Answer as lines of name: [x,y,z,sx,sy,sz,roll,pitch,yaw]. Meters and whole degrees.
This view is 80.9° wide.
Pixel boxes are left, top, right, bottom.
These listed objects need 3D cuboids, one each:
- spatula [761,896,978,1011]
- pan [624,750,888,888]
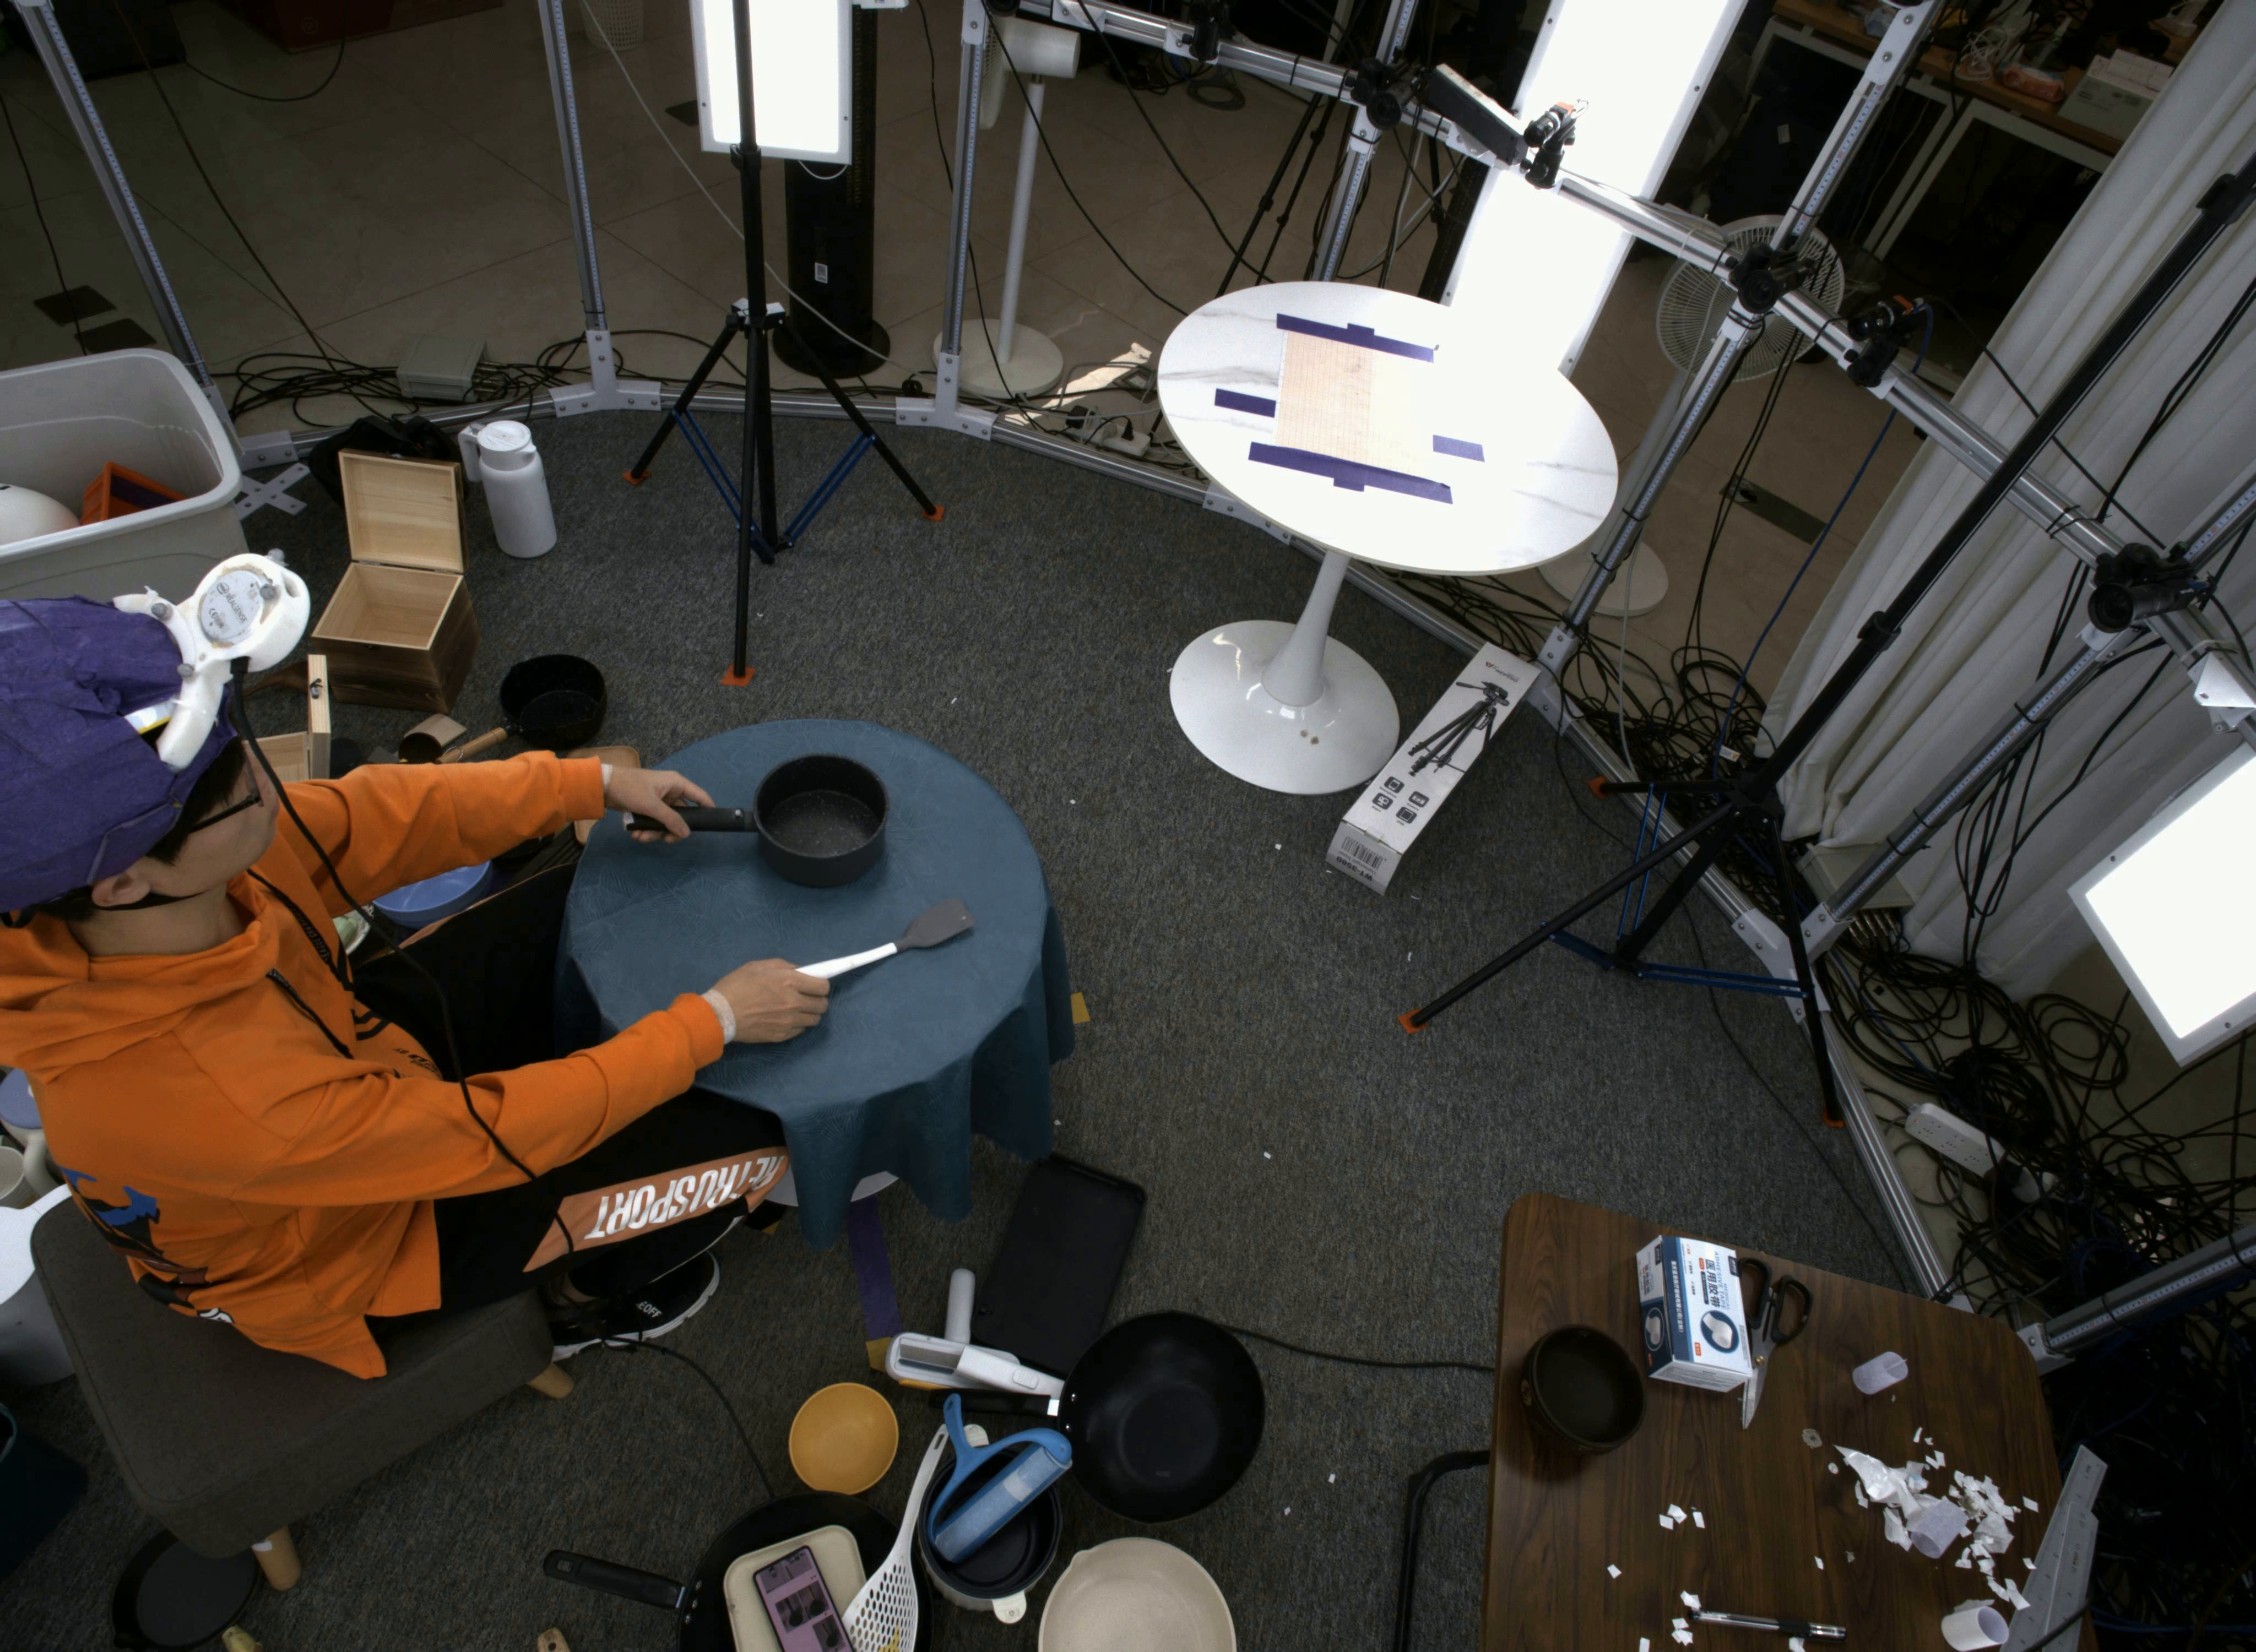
spatula: [-0.315,0.155,1.600,0.290,0.033,0.057,-22,53,-36]
pan: [-0.473,-0.006,1.650,0.330,0.088,0.168,-2,53,-18]
